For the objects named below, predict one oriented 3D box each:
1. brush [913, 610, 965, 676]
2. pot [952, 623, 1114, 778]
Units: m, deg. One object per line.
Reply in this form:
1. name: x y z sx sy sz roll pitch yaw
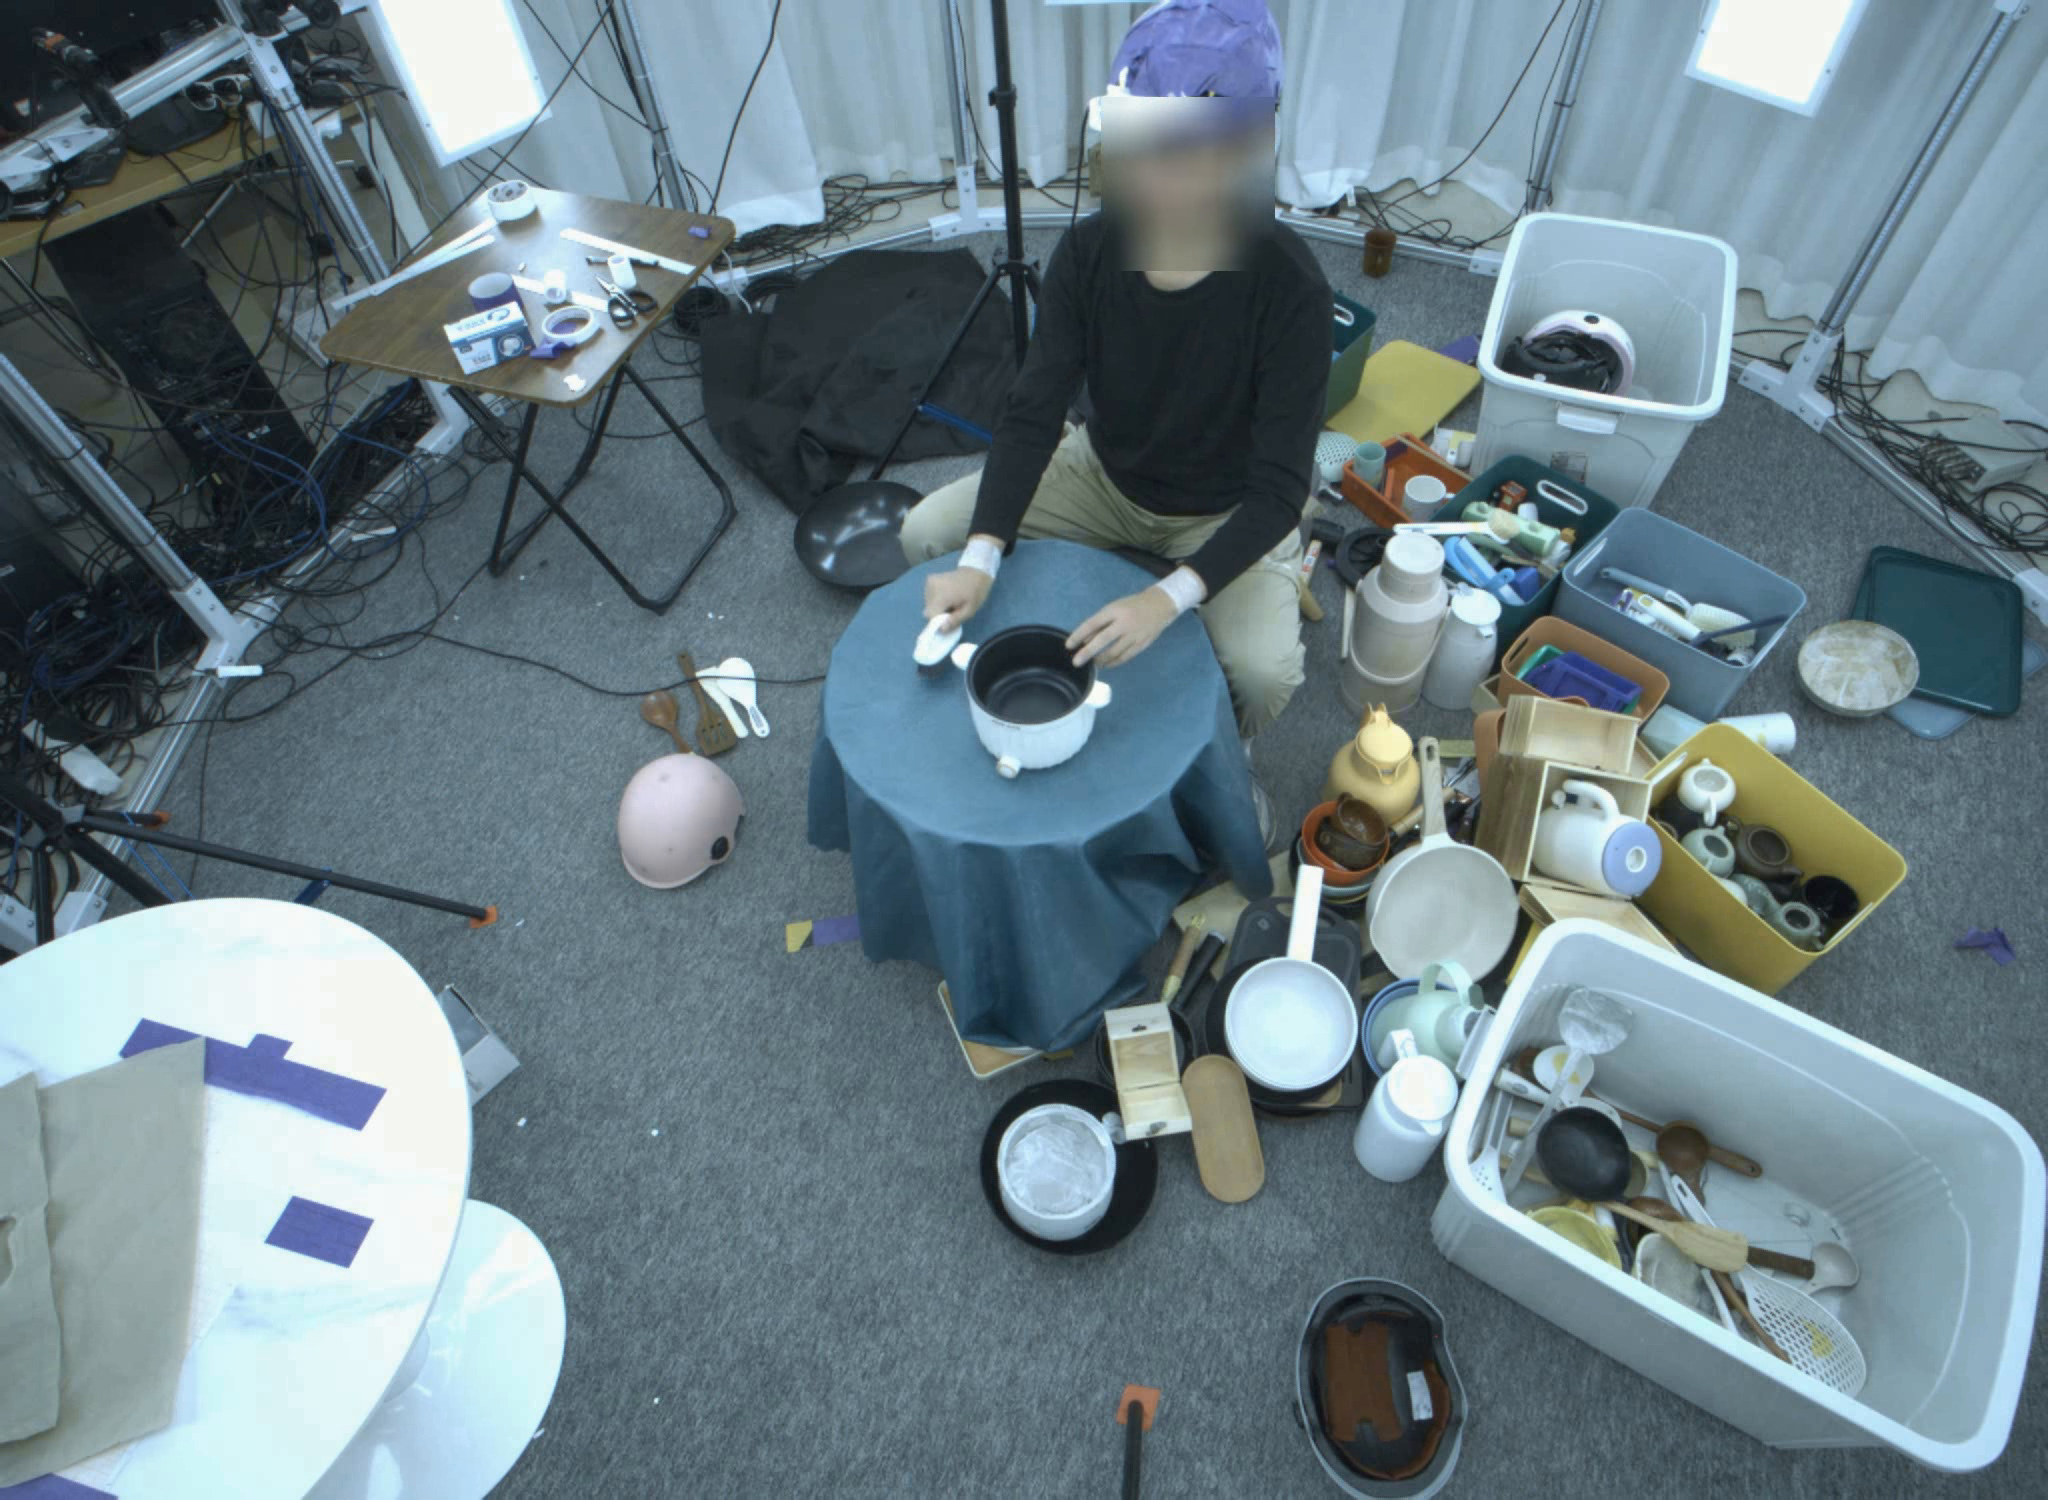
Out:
1. brush: -0.130 -0.168 1.837 0.049 0.073 0.099 18 49 24
2. pot: 0.013 -0.065 1.748 0.238 0.144 0.190 16 54 15
